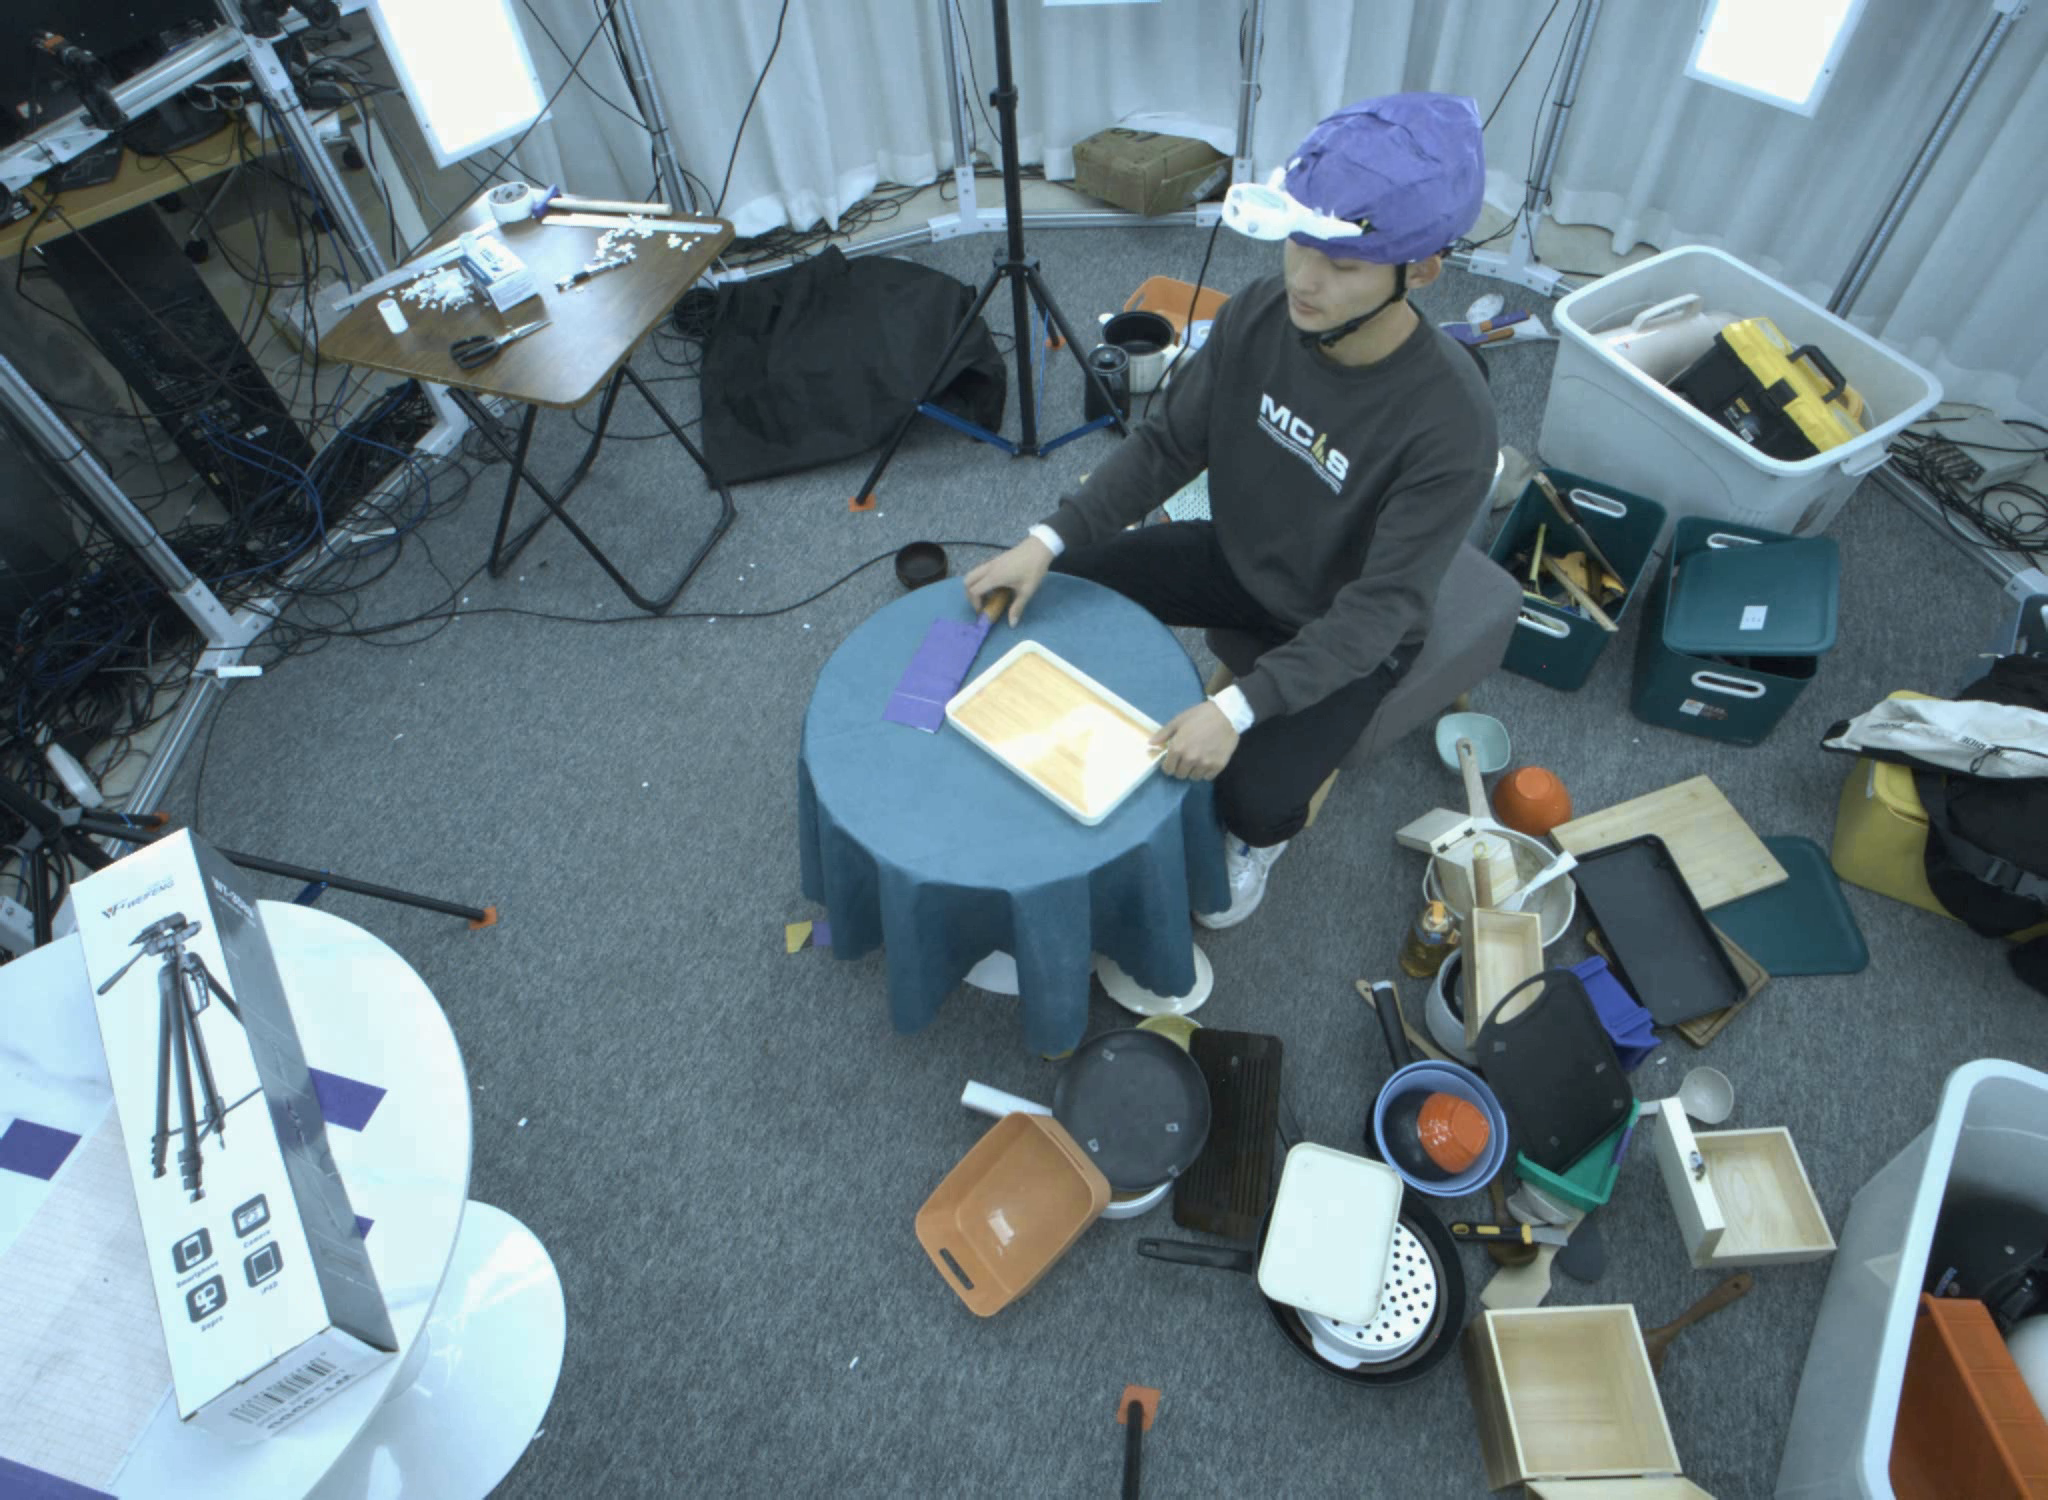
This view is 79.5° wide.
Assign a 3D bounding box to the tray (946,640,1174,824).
[{"bbox_3d":[0.051,-0.032,1.800,0.295,0.028,0.193,37,62,24],"label":"tray"}]

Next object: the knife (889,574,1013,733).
[{"bbox_3d":[-0.114,-0.160,1.895,0.103,0.032,0.315,17,57,12],"label":"knife"}]
